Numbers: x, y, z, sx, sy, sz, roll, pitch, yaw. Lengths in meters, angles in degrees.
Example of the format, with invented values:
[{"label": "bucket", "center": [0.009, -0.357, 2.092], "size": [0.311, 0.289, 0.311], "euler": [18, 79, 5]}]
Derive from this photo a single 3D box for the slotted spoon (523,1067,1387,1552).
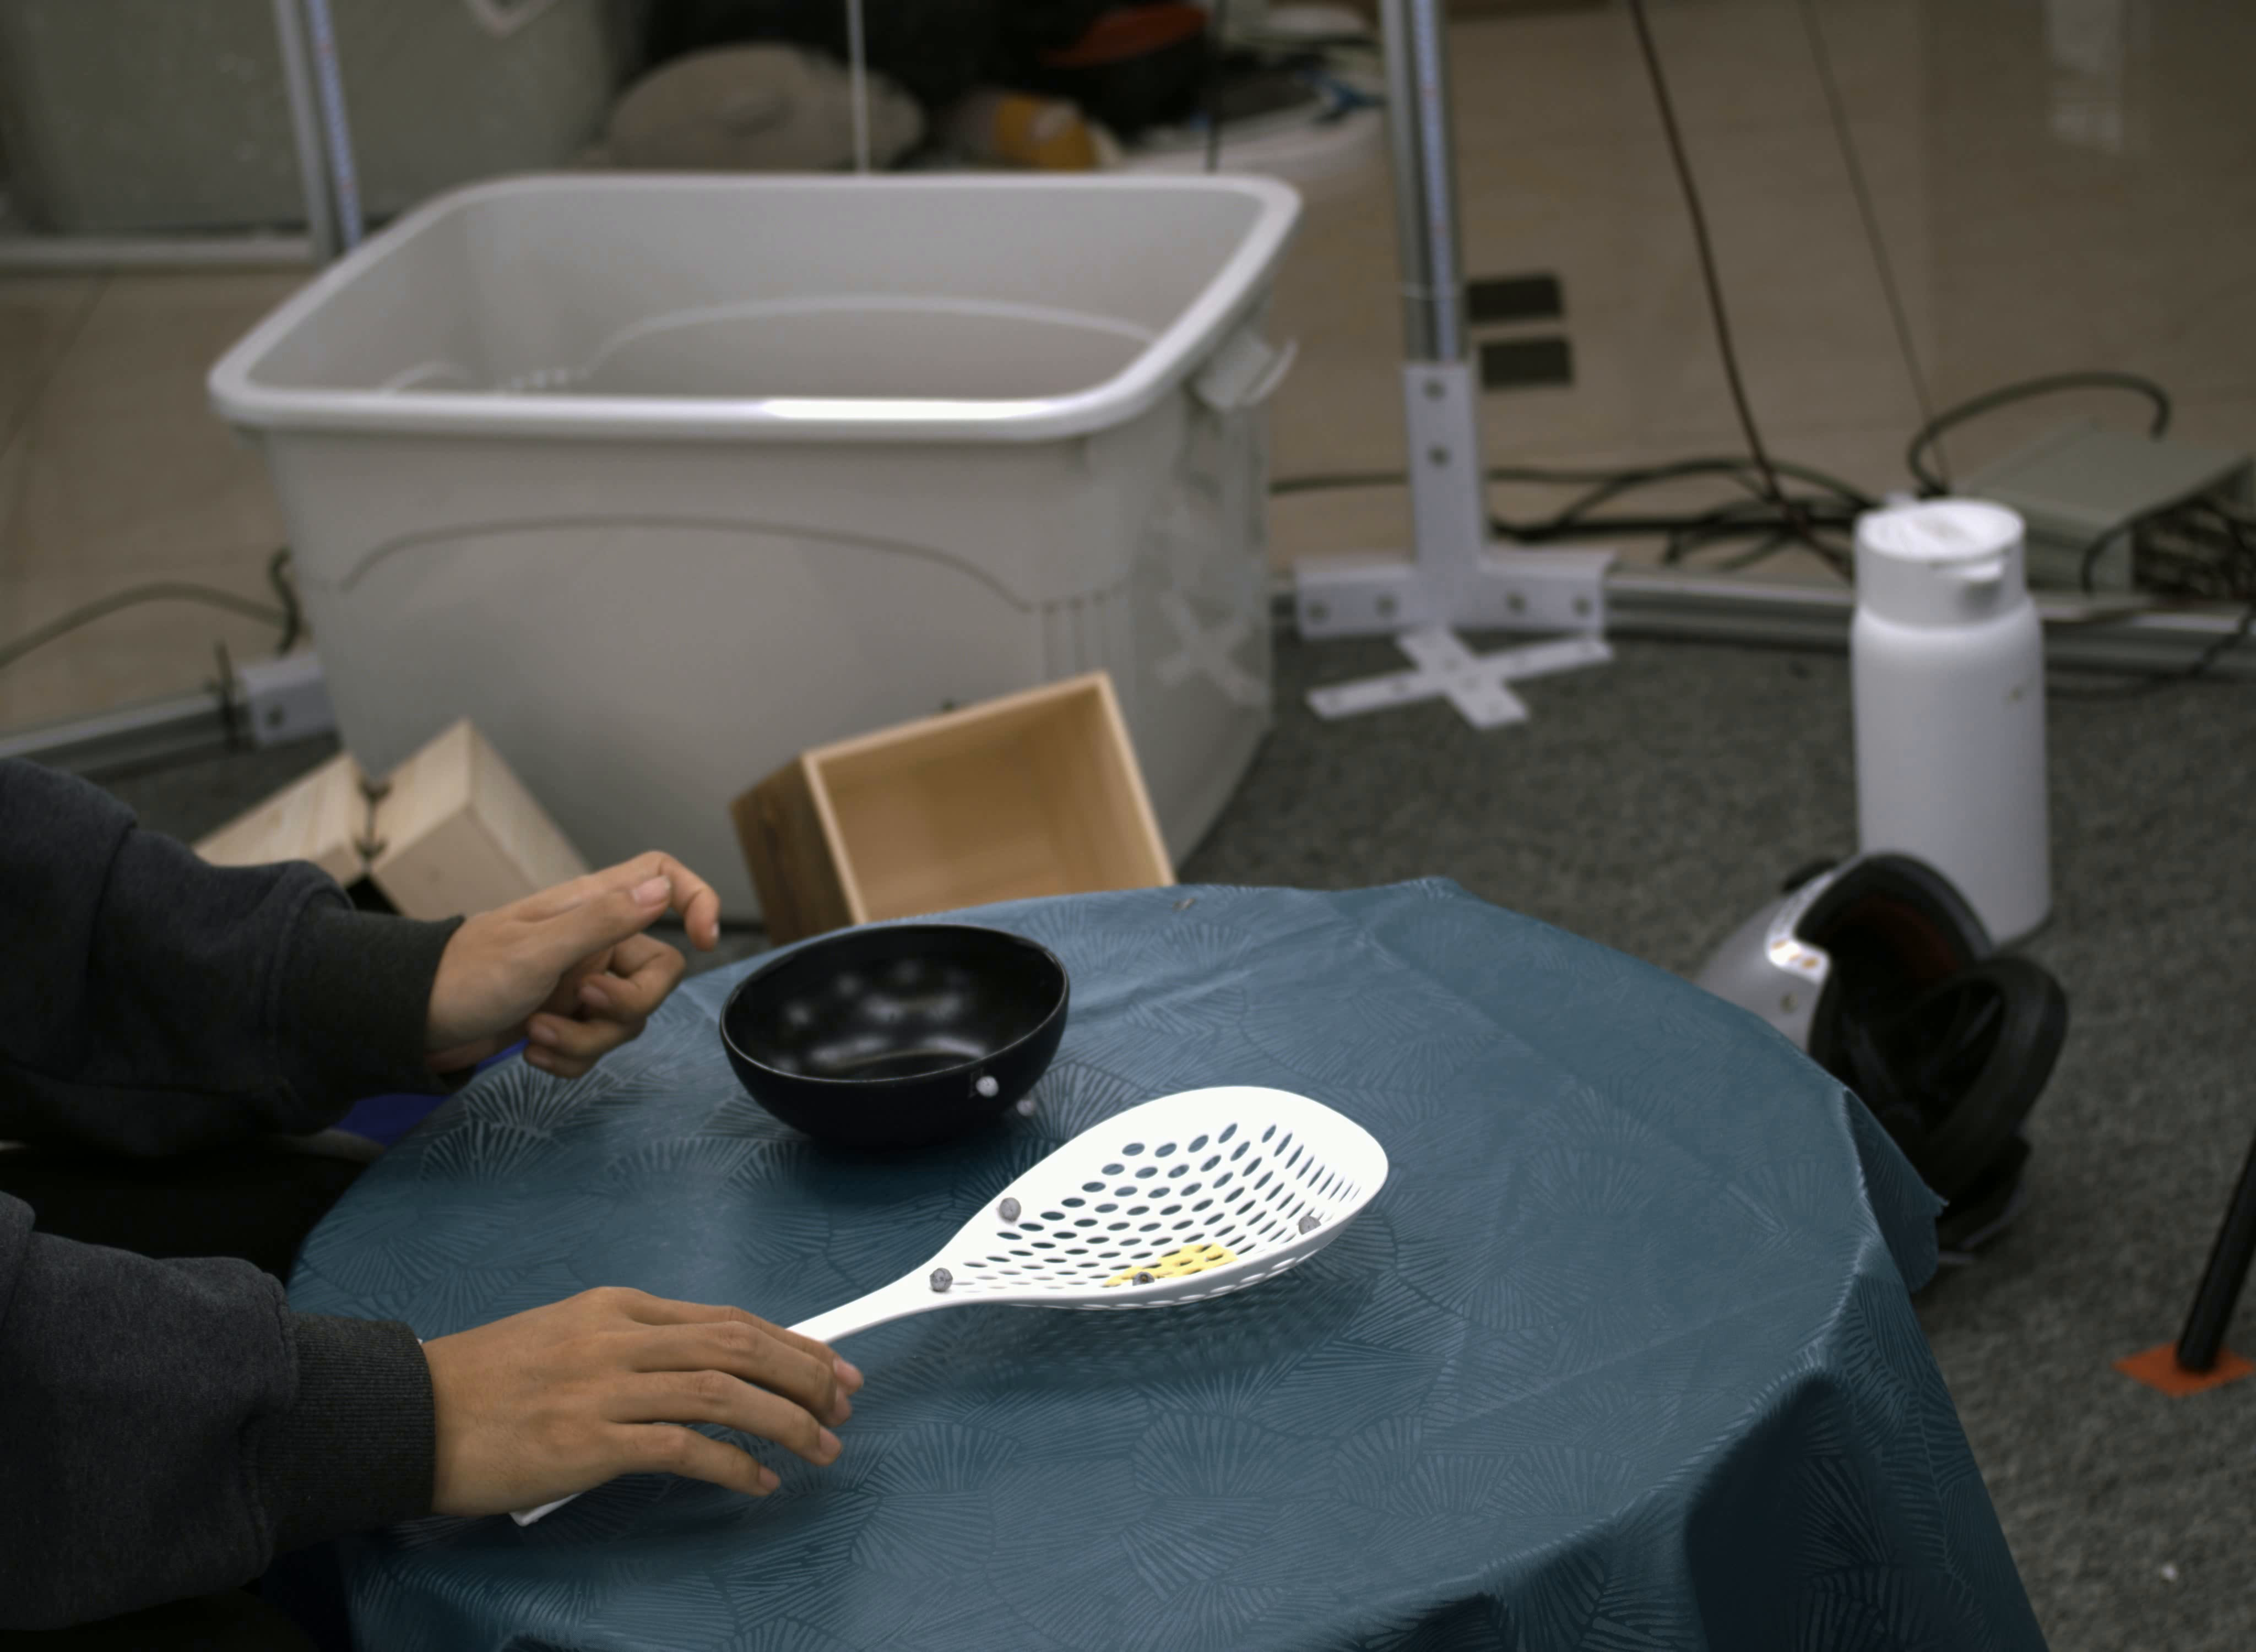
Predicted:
[{"label": "slotted spoon", "center": [-0.066, 0.175, 2.037], "size": [0.346, 0.051, 0.135], "euler": [-19, 29, -24]}]
